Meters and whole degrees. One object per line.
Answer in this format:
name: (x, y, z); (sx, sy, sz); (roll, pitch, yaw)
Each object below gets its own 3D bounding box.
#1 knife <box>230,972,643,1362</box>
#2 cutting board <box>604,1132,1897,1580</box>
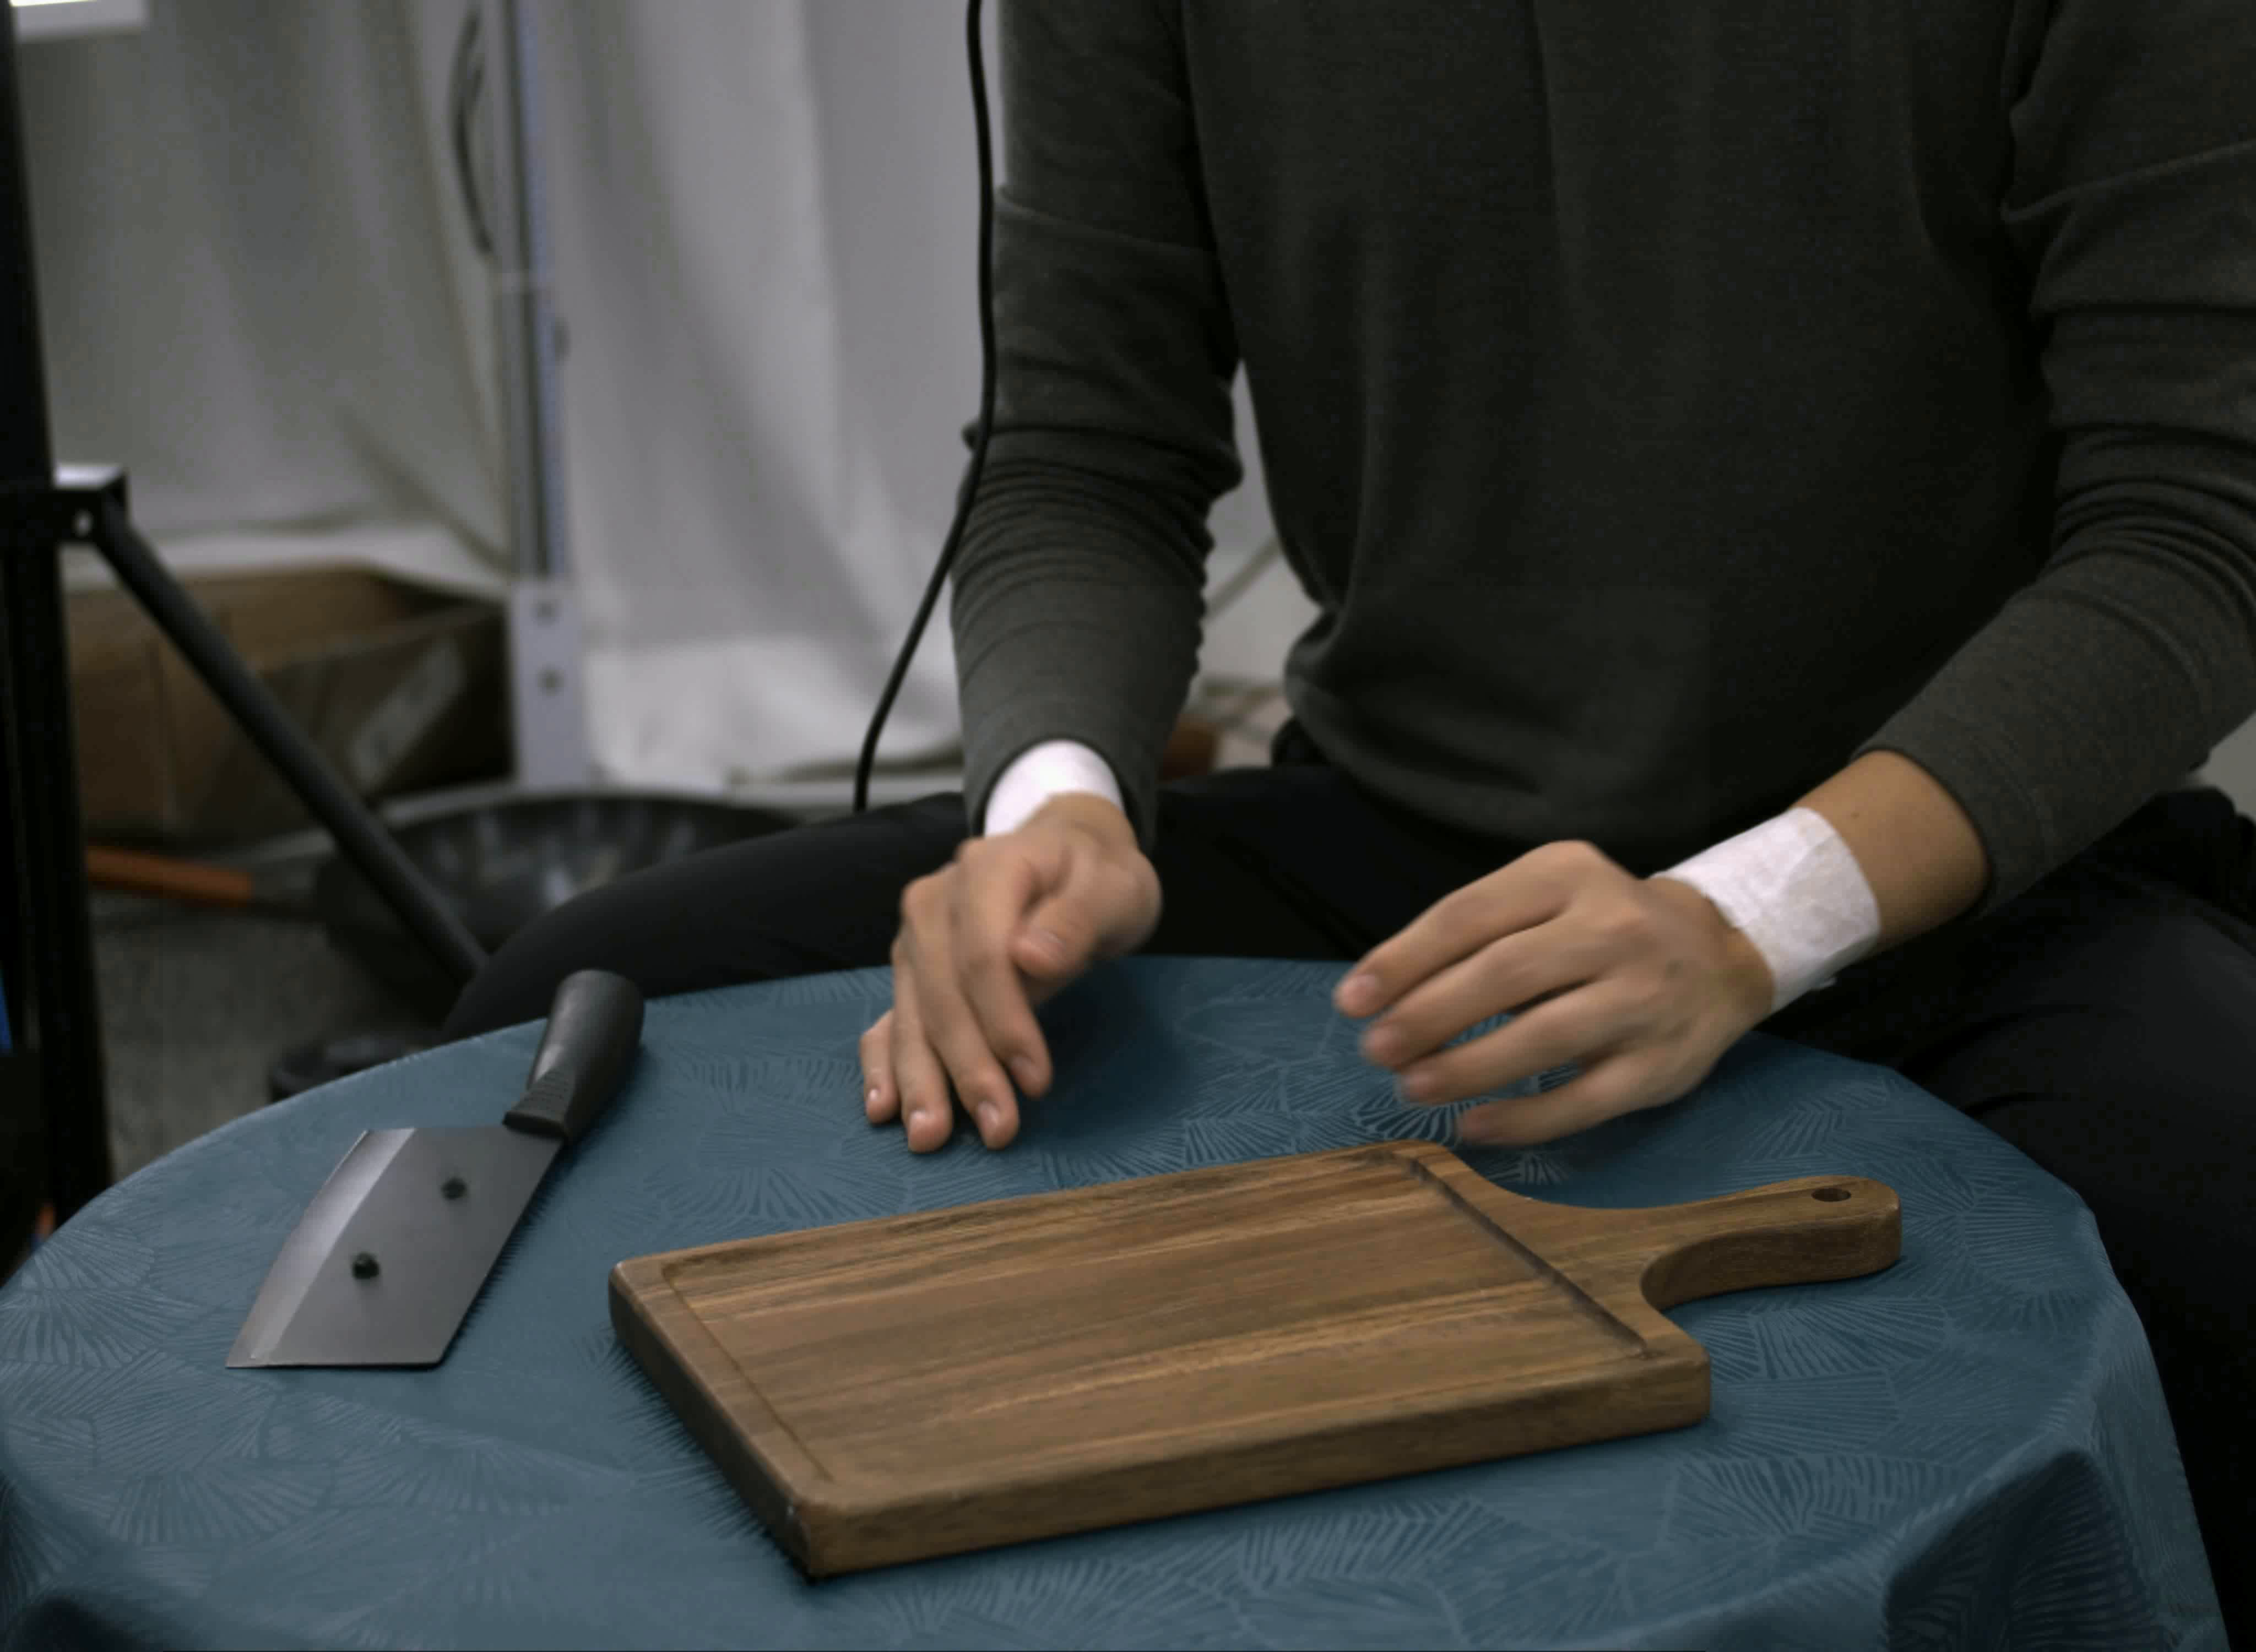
knife: (-0.199, 0.101, 1.594); (0.081, 0.021, 0.301); (-1, 18, 11)
cutting board: (0.051, 0.131, 1.433); (0.346, 0.023, 0.204); (-8, 17, -18)
